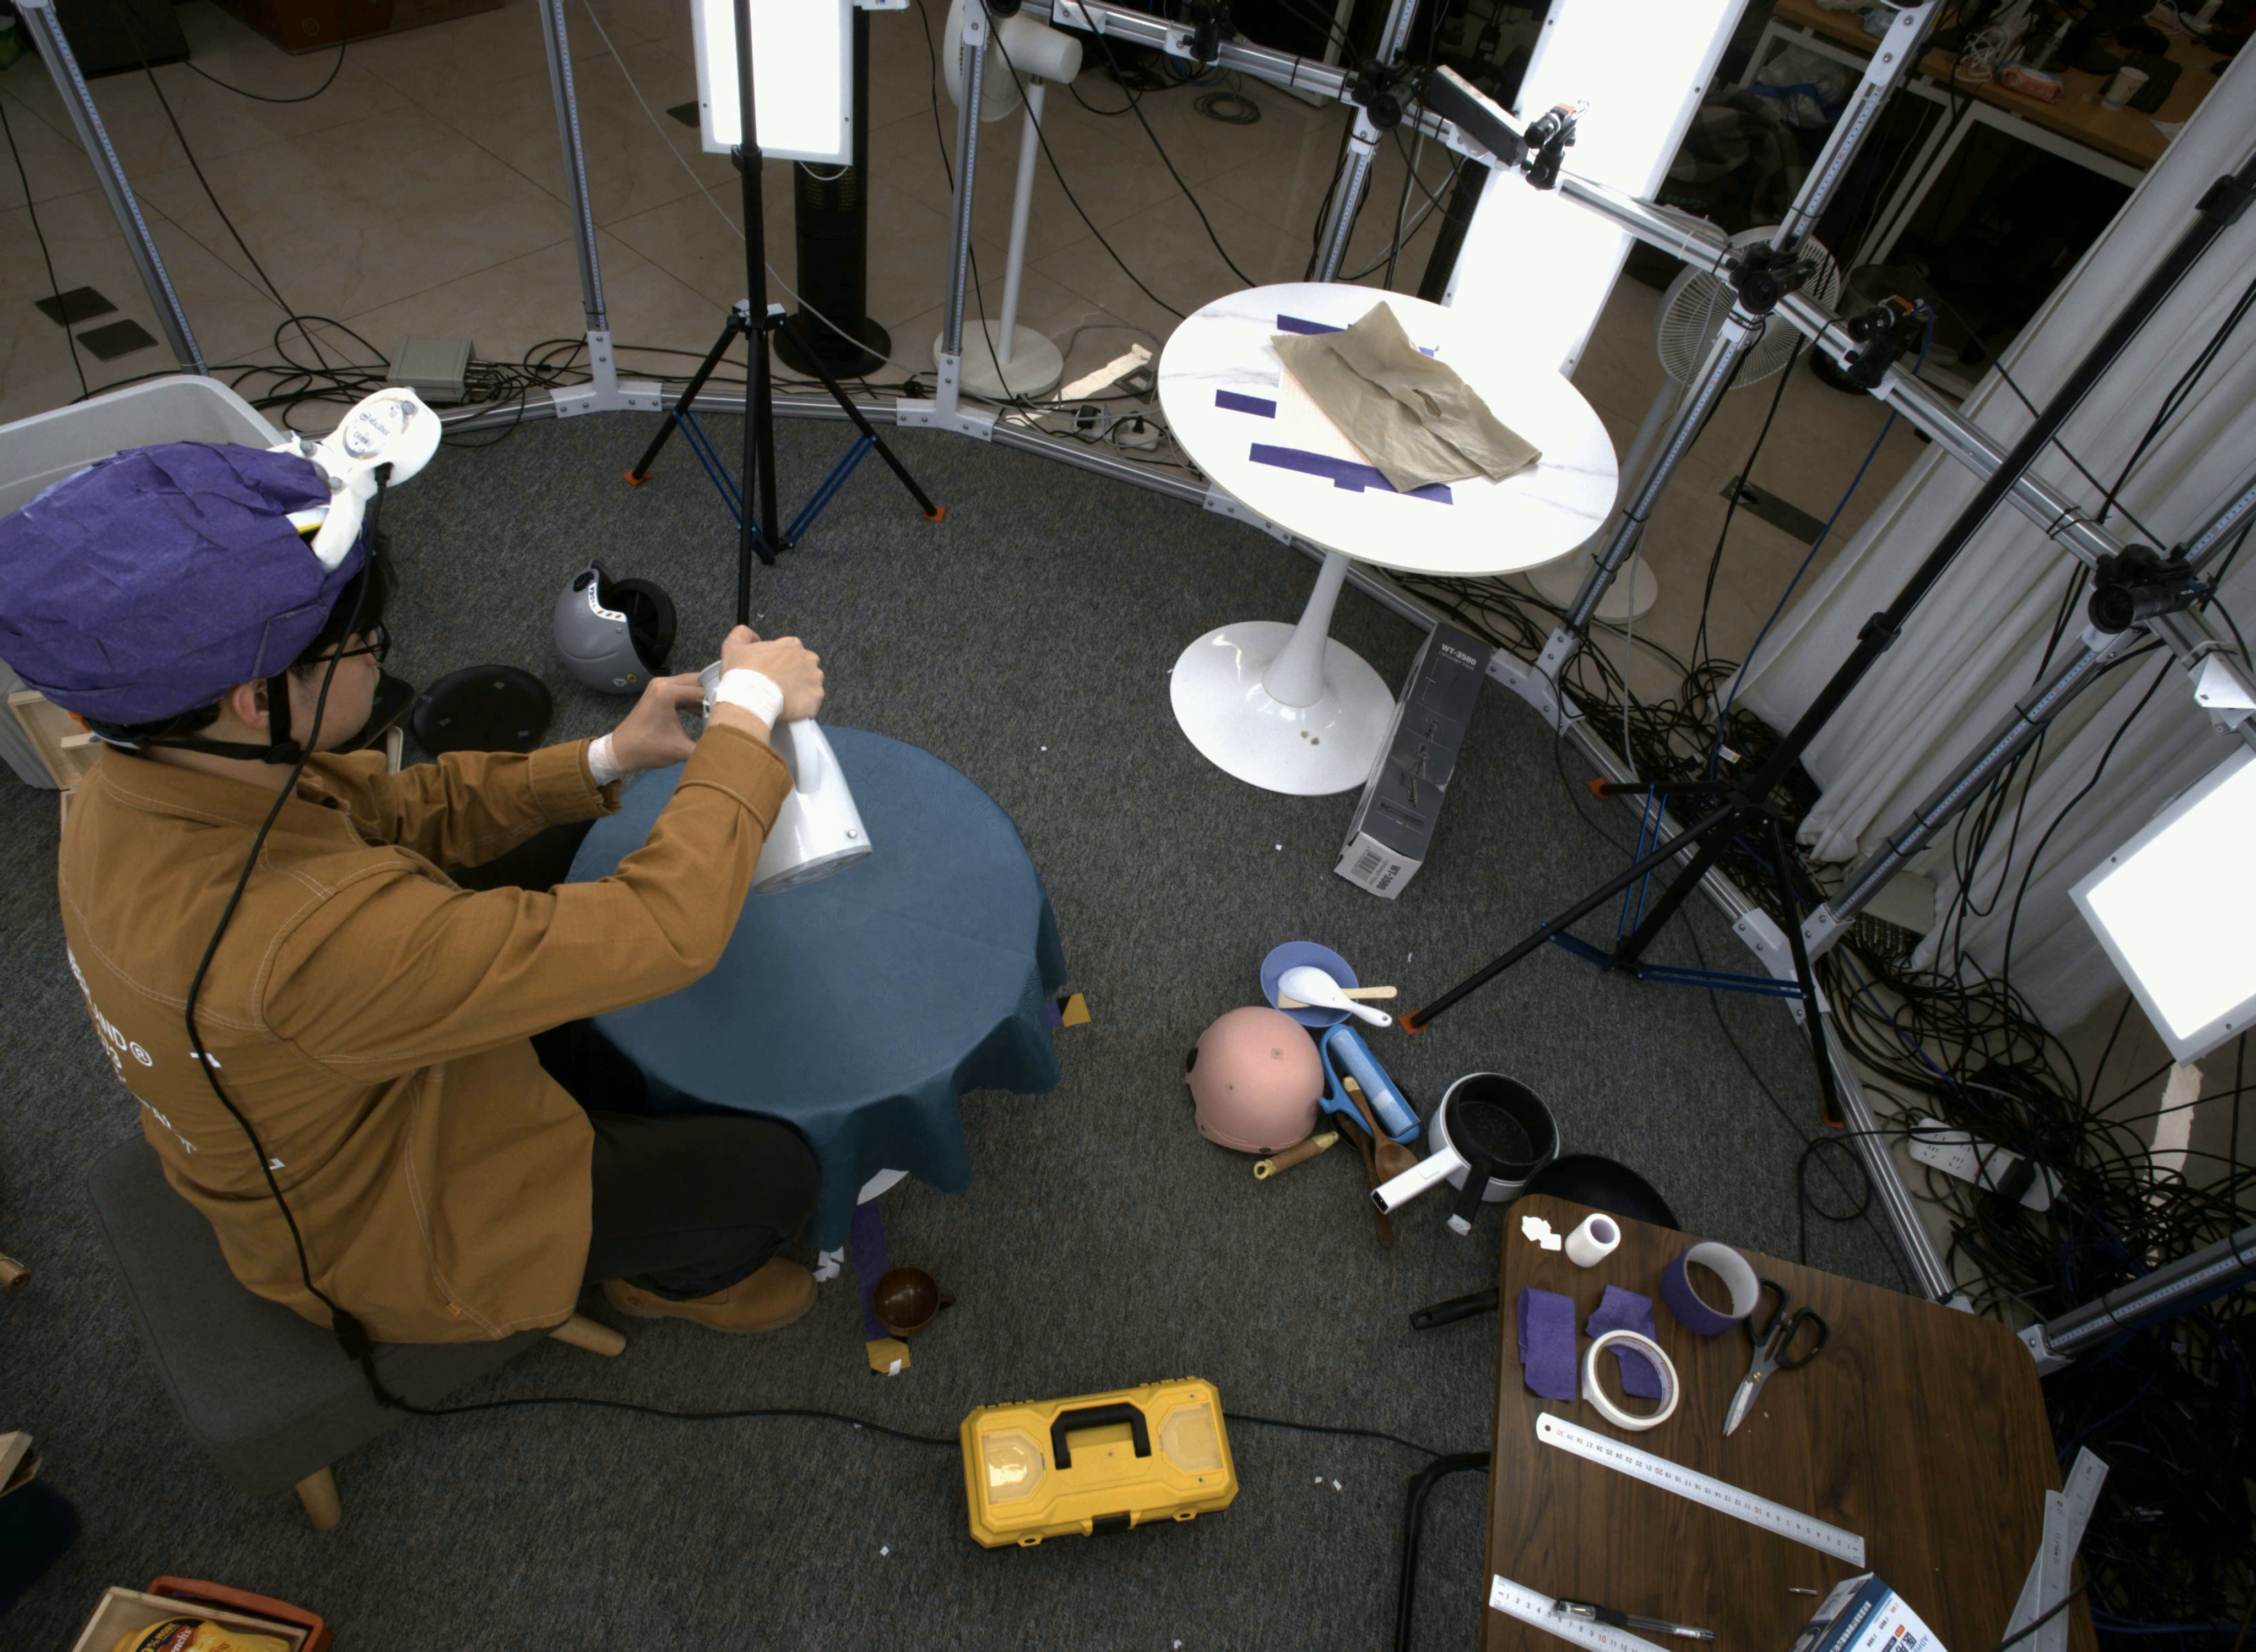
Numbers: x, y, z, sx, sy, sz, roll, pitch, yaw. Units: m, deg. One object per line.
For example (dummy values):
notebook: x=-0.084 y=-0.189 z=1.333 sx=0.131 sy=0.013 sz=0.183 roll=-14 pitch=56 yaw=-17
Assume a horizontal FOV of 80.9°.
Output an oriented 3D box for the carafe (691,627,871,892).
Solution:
carafe: x=-0.367 y=-0.077 z=1.351 sx=0.134 sy=0.165 sz=0.250 roll=-20 pitch=88 yaw=-37

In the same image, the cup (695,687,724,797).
cup: x=-0.468 y=-0.099 z=1.489 sx=0.067 sy=0.134 sz=0.065 roll=12 pitch=49 yaw=-13
